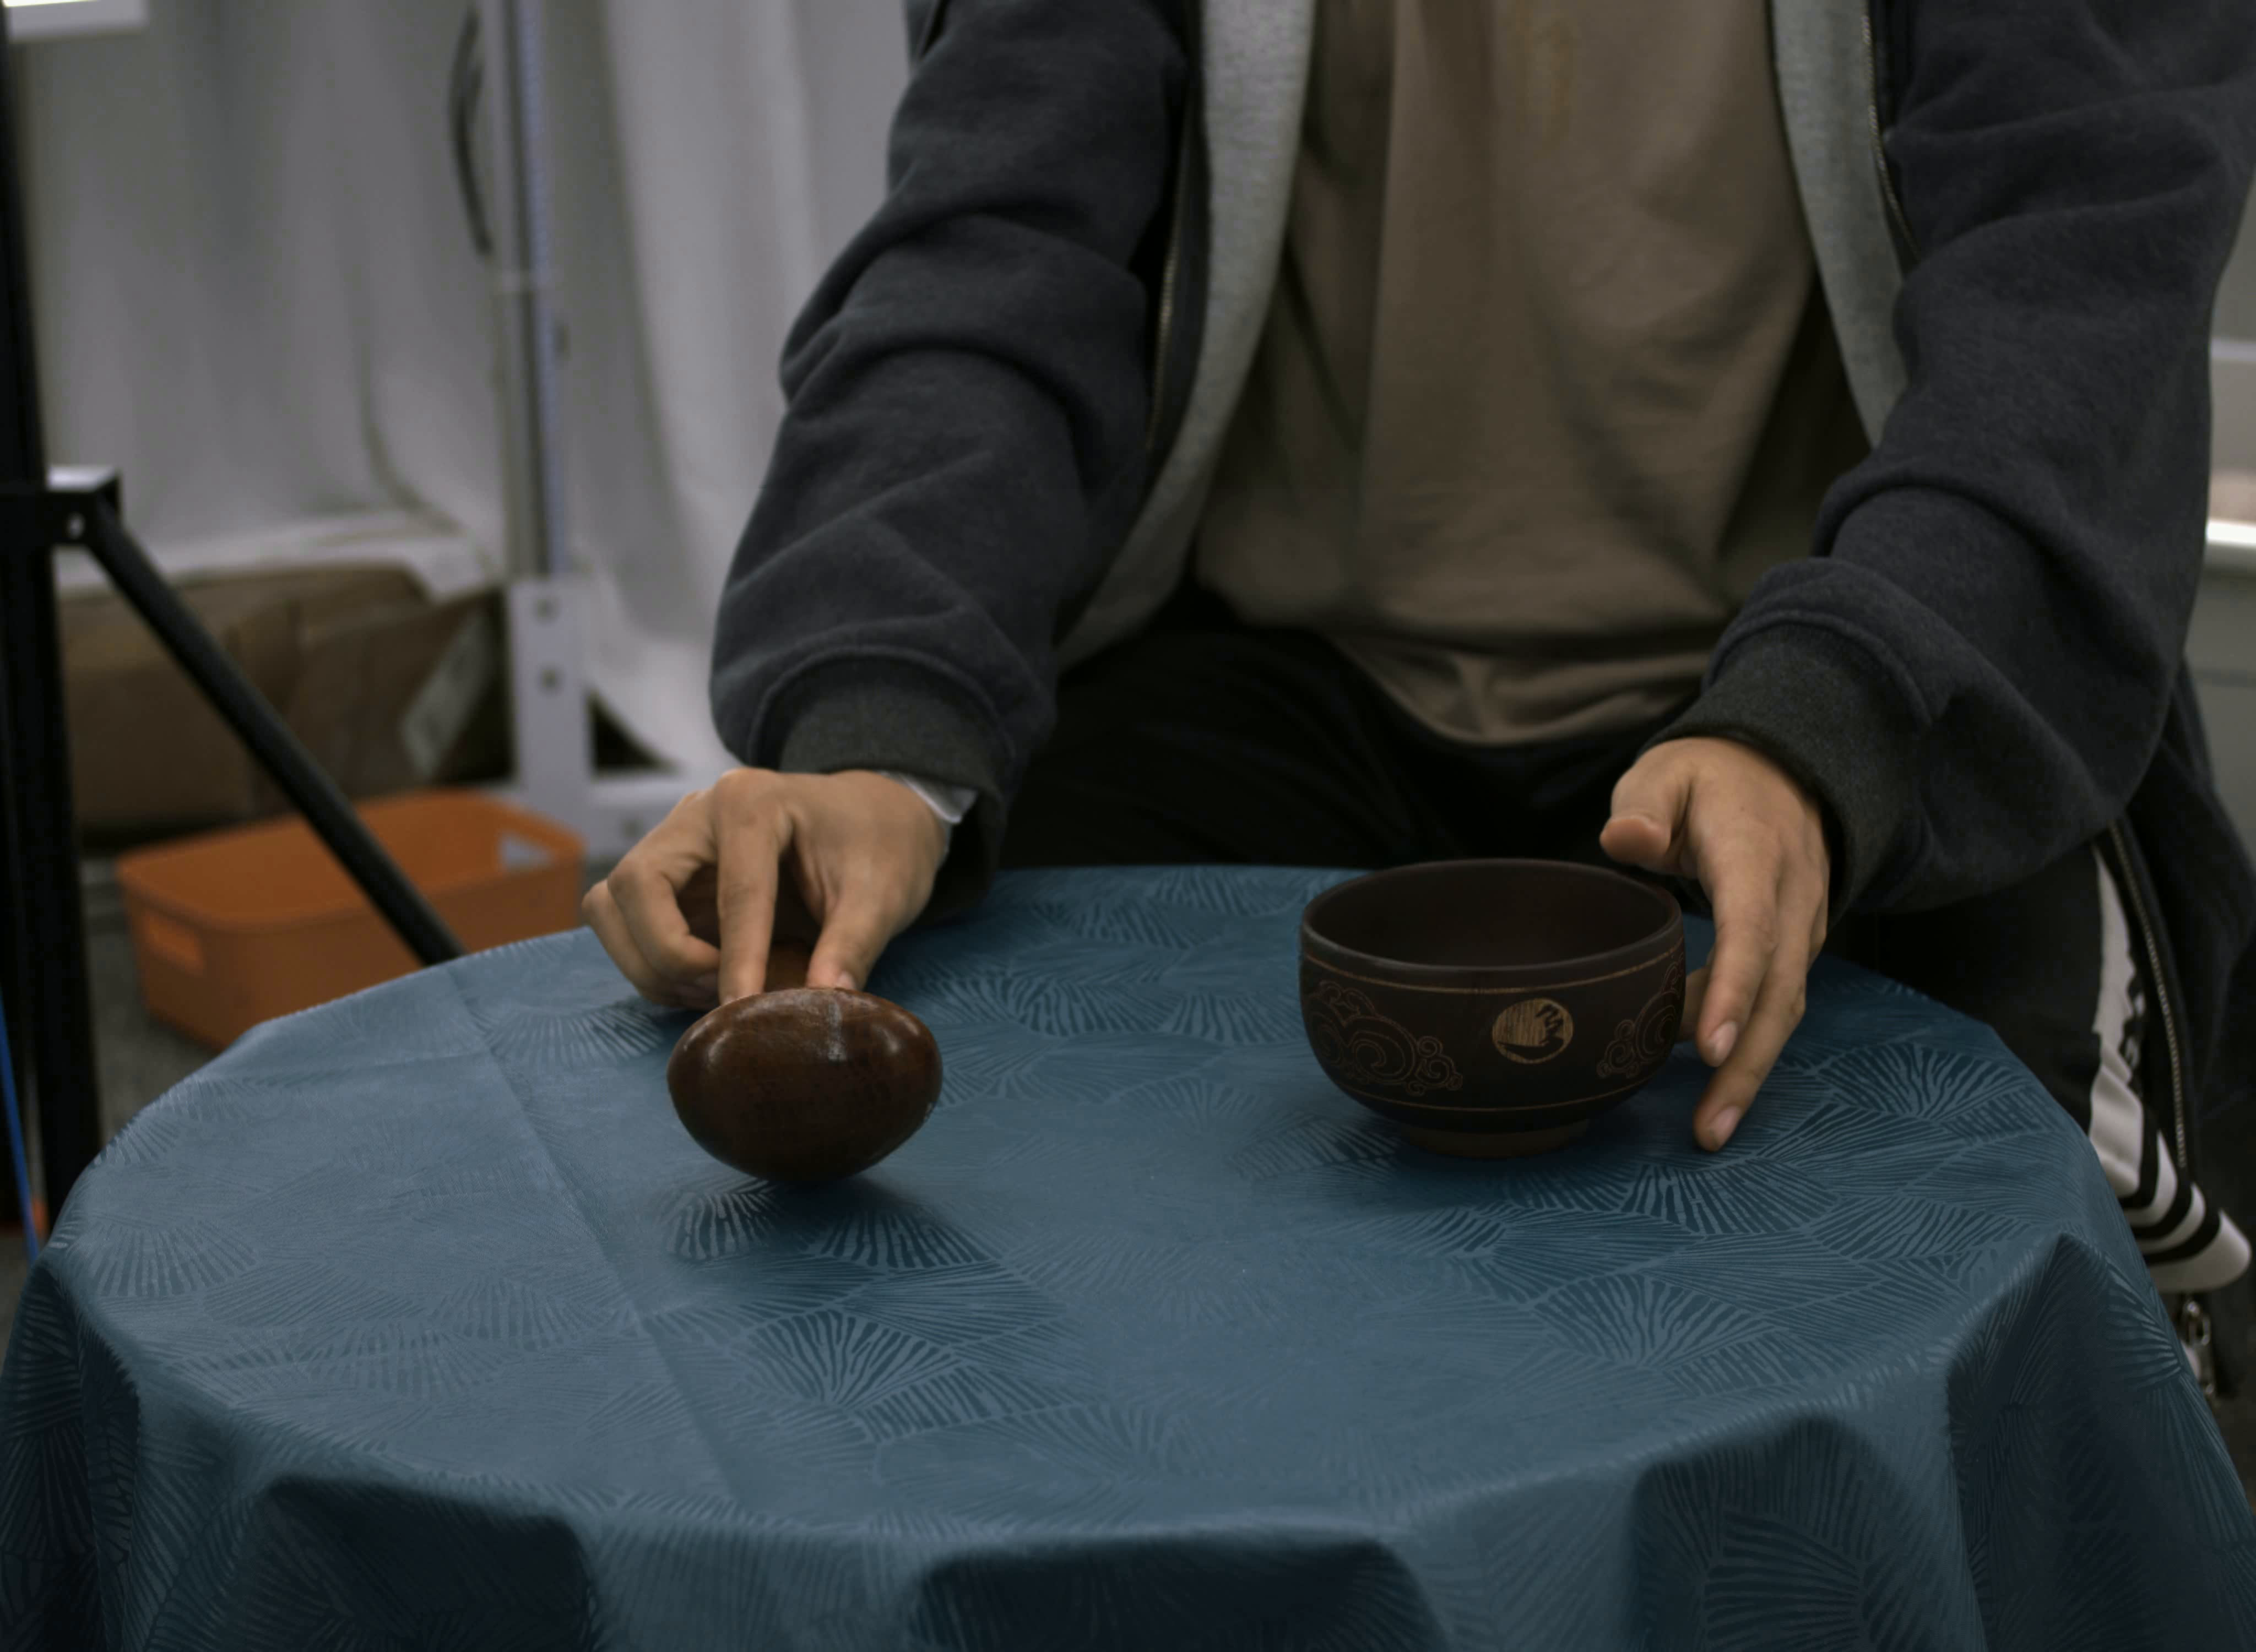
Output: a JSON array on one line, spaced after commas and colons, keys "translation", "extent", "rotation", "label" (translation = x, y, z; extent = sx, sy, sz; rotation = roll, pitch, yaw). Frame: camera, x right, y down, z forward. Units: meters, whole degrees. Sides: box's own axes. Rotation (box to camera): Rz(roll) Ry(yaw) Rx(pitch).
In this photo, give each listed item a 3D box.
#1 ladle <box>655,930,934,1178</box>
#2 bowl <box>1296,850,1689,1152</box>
[{"translation": [-0.103, 0.045, 1.654], "extent": [0.081, 0.077, 0.276], "rotation": [2, 16, -4], "label": "ladle"}, {"translation": [0.110, 0.056, 1.589], "extent": [0.117, 0.070, 0.118], "rotation": [-3, 16, 0], "label": "bowl"}]
